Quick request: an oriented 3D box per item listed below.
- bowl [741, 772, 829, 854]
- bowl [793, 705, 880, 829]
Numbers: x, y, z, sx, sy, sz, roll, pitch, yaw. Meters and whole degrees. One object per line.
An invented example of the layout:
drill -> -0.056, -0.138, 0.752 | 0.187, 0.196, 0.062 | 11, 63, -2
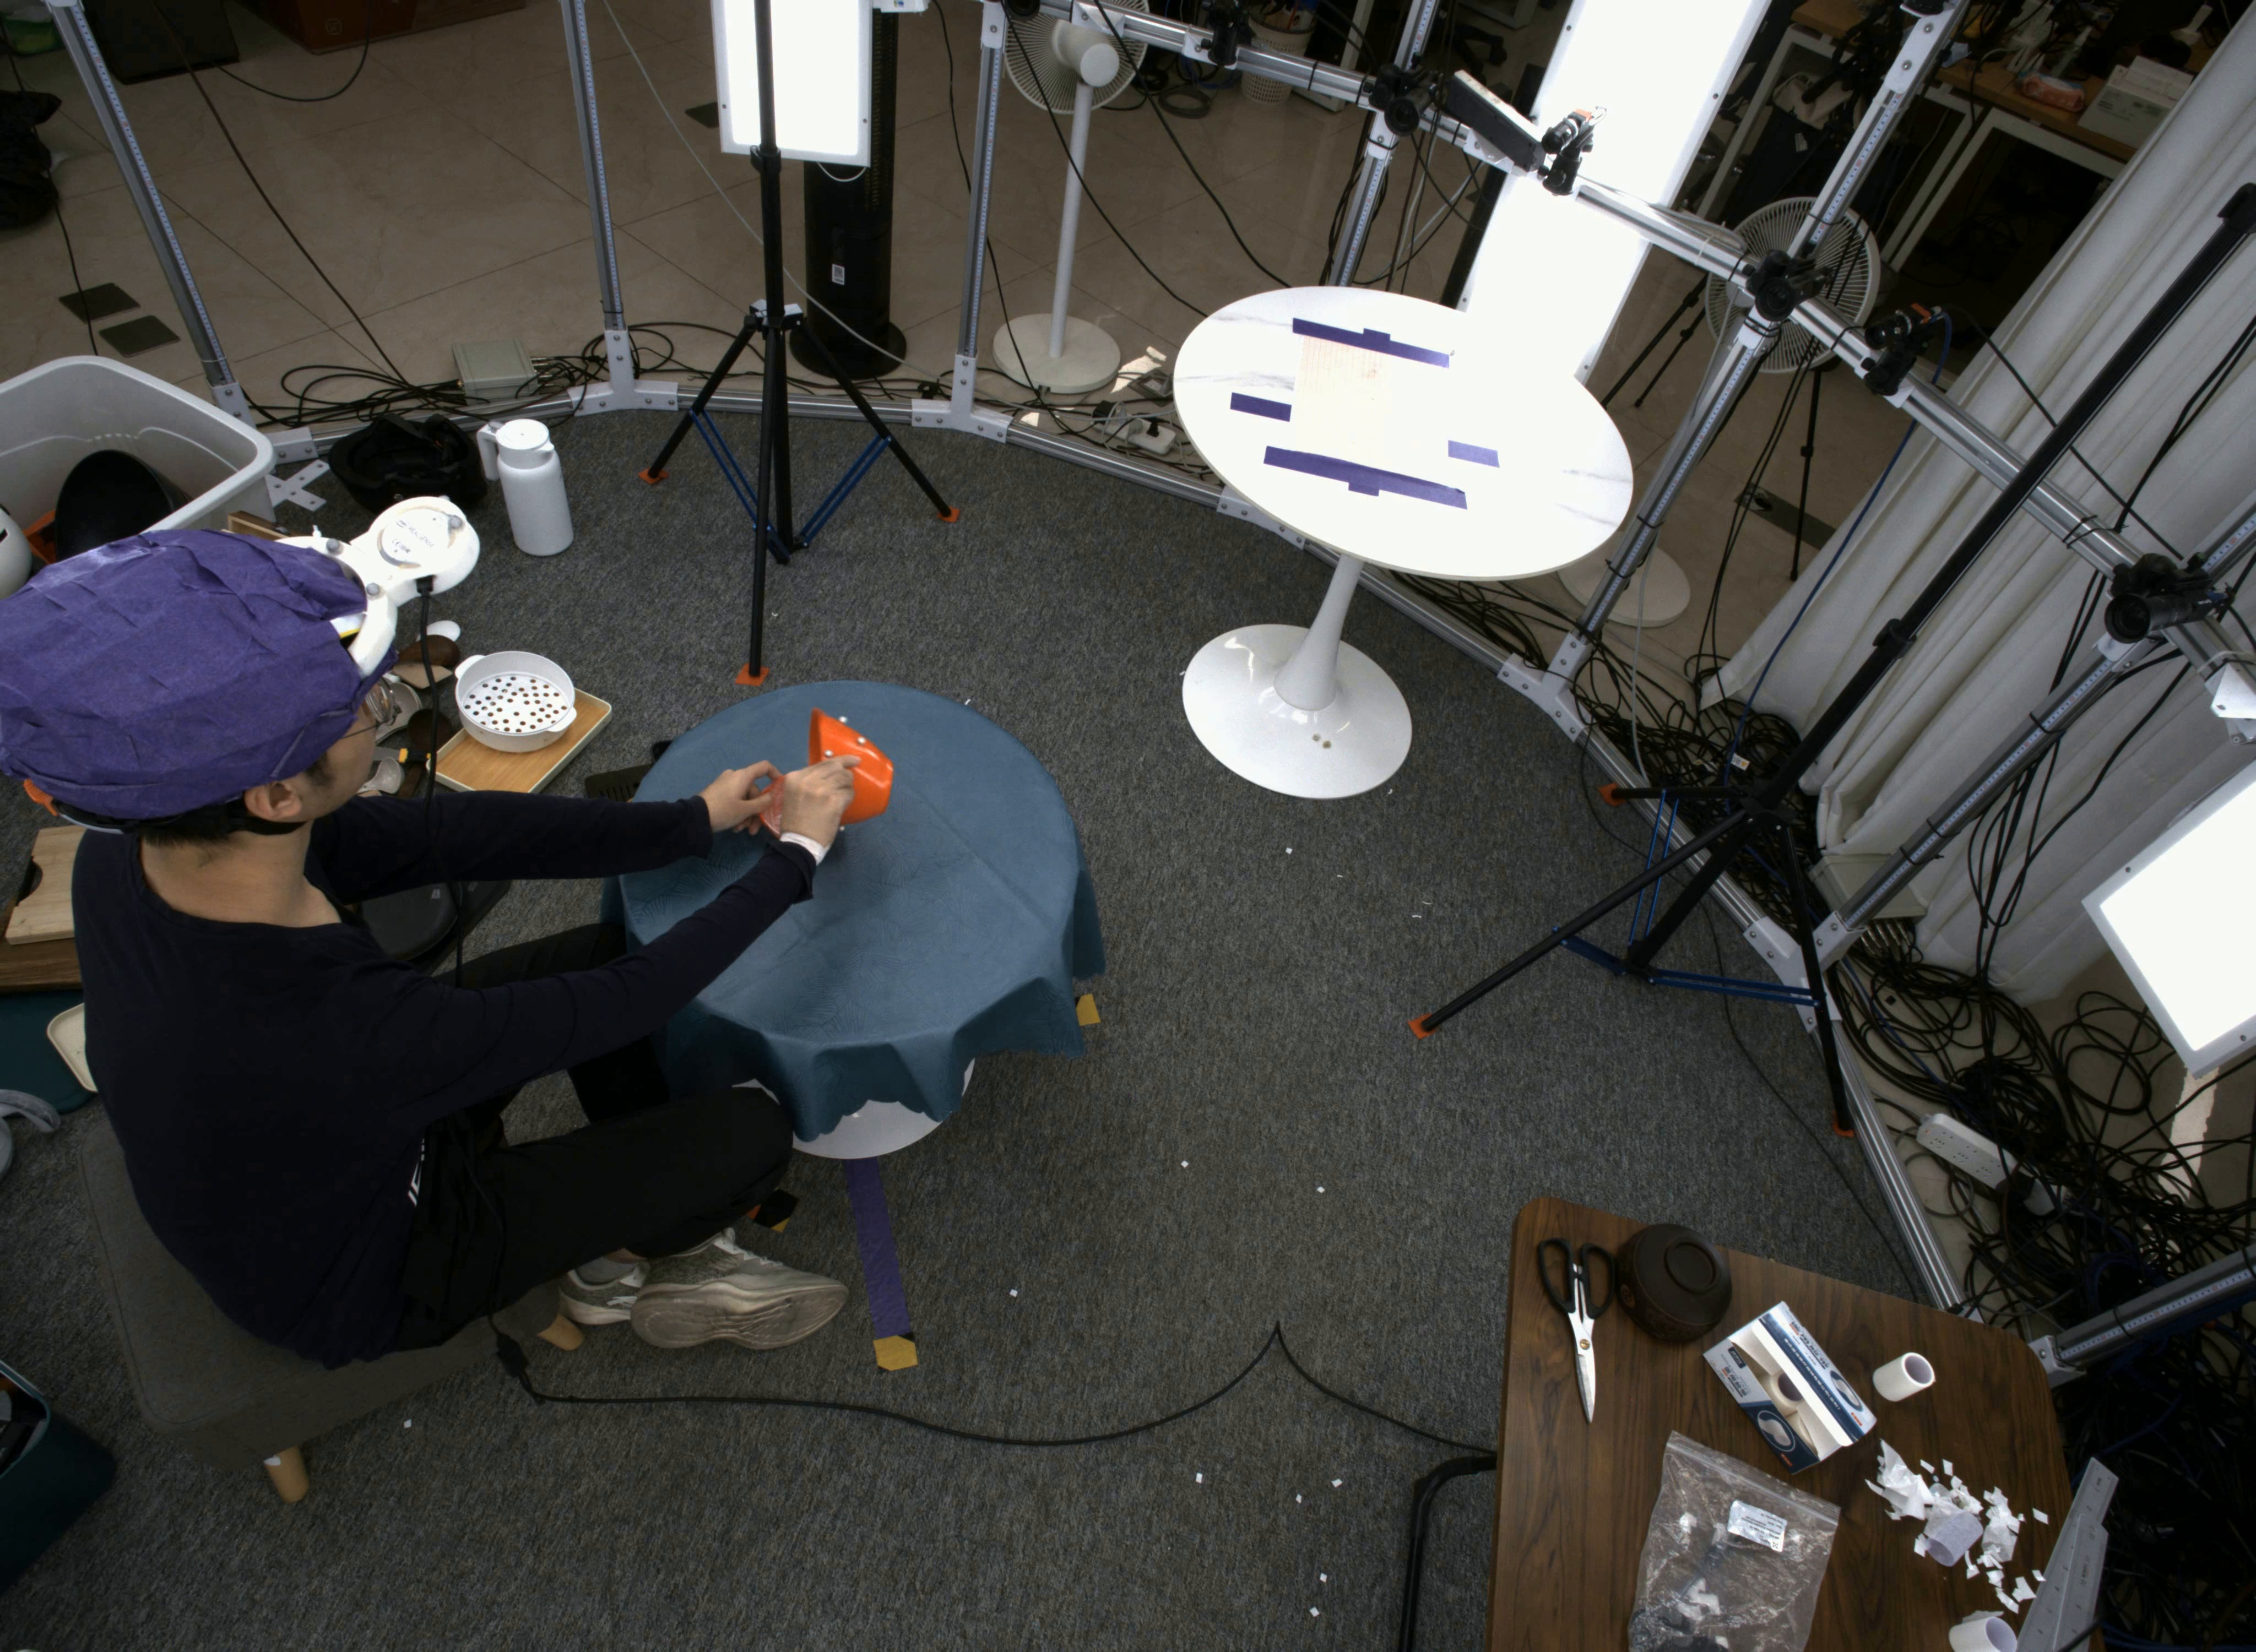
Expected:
bowl -> -0.446, -0.010, 1.704 | 0.119, 0.052, 0.117 | 8, 53, -9
bowl -> -0.366, -0.066, 1.612 | 0.106, 0.149, 0.145 | 10, 50, -21
